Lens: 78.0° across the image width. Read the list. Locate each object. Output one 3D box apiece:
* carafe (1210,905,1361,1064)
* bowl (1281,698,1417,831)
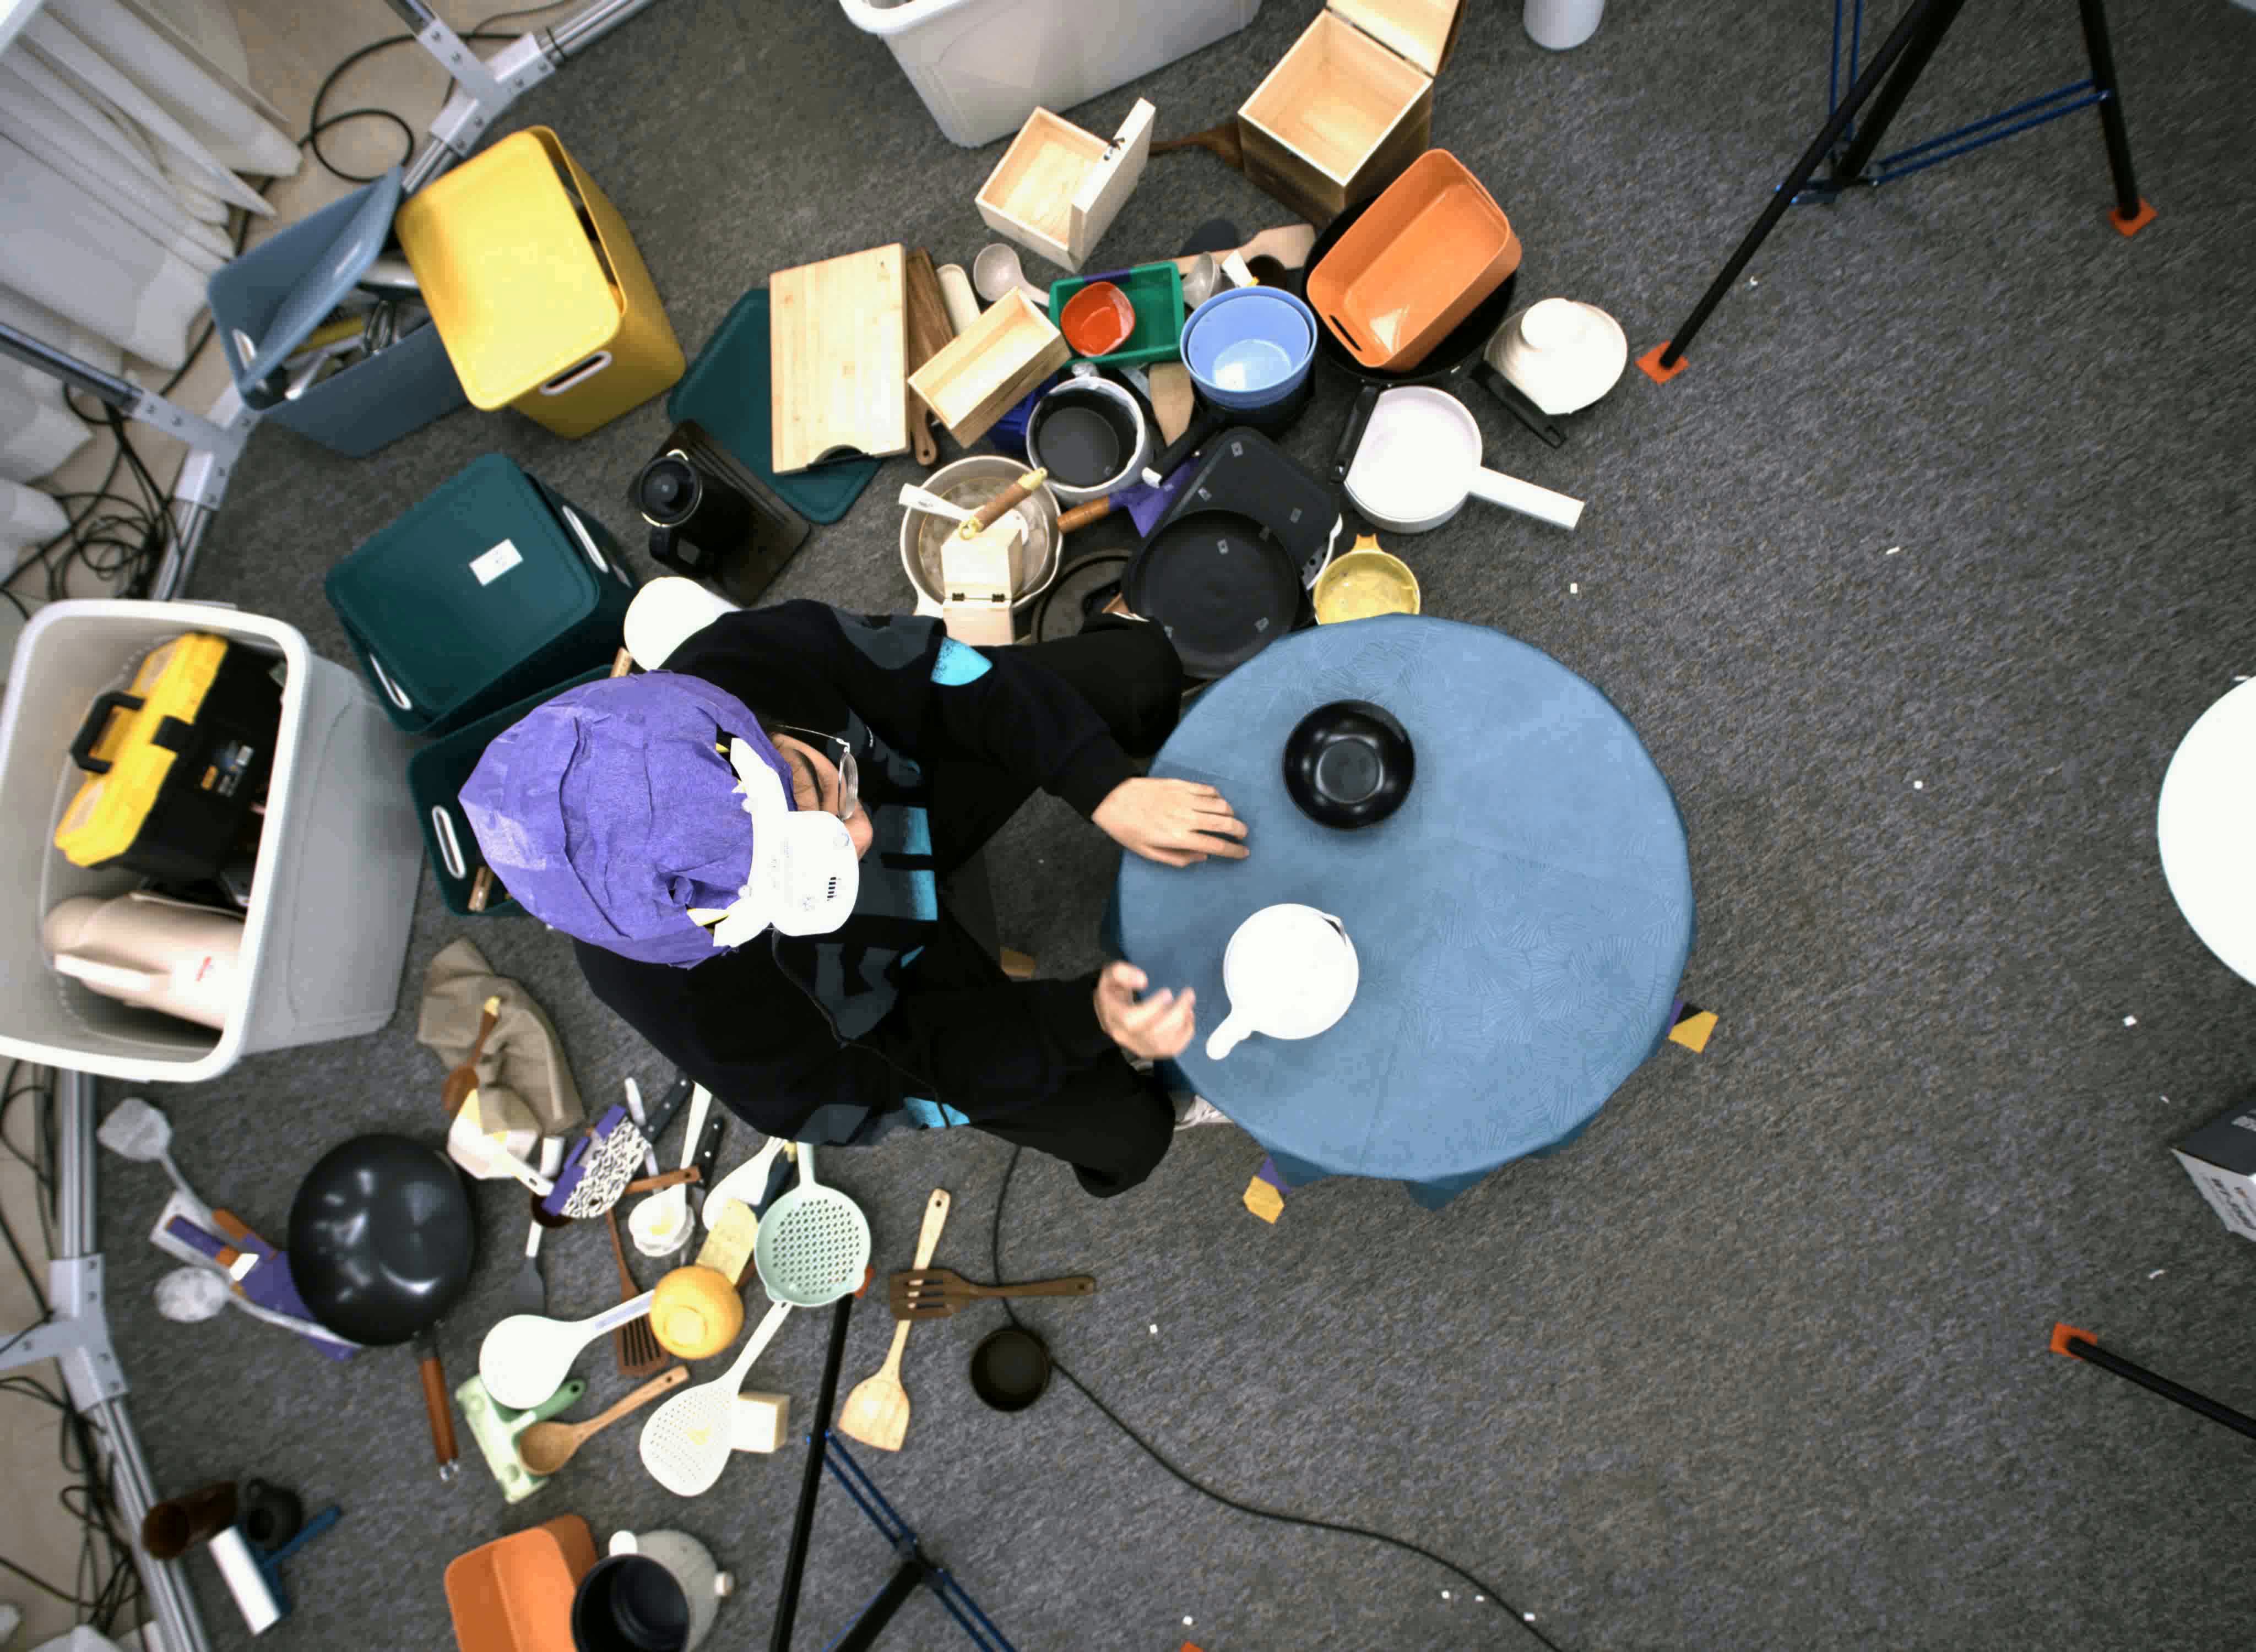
[{"bbox_3d":[0.149,0.163,1.386,0.131,0.182,0.192,43,96,11],"label":"carafe"},{"bbox_3d":[0.232,-0.063,1.445,0.140,0.050,0.139,-1,87,12],"label":"bowl"}]
